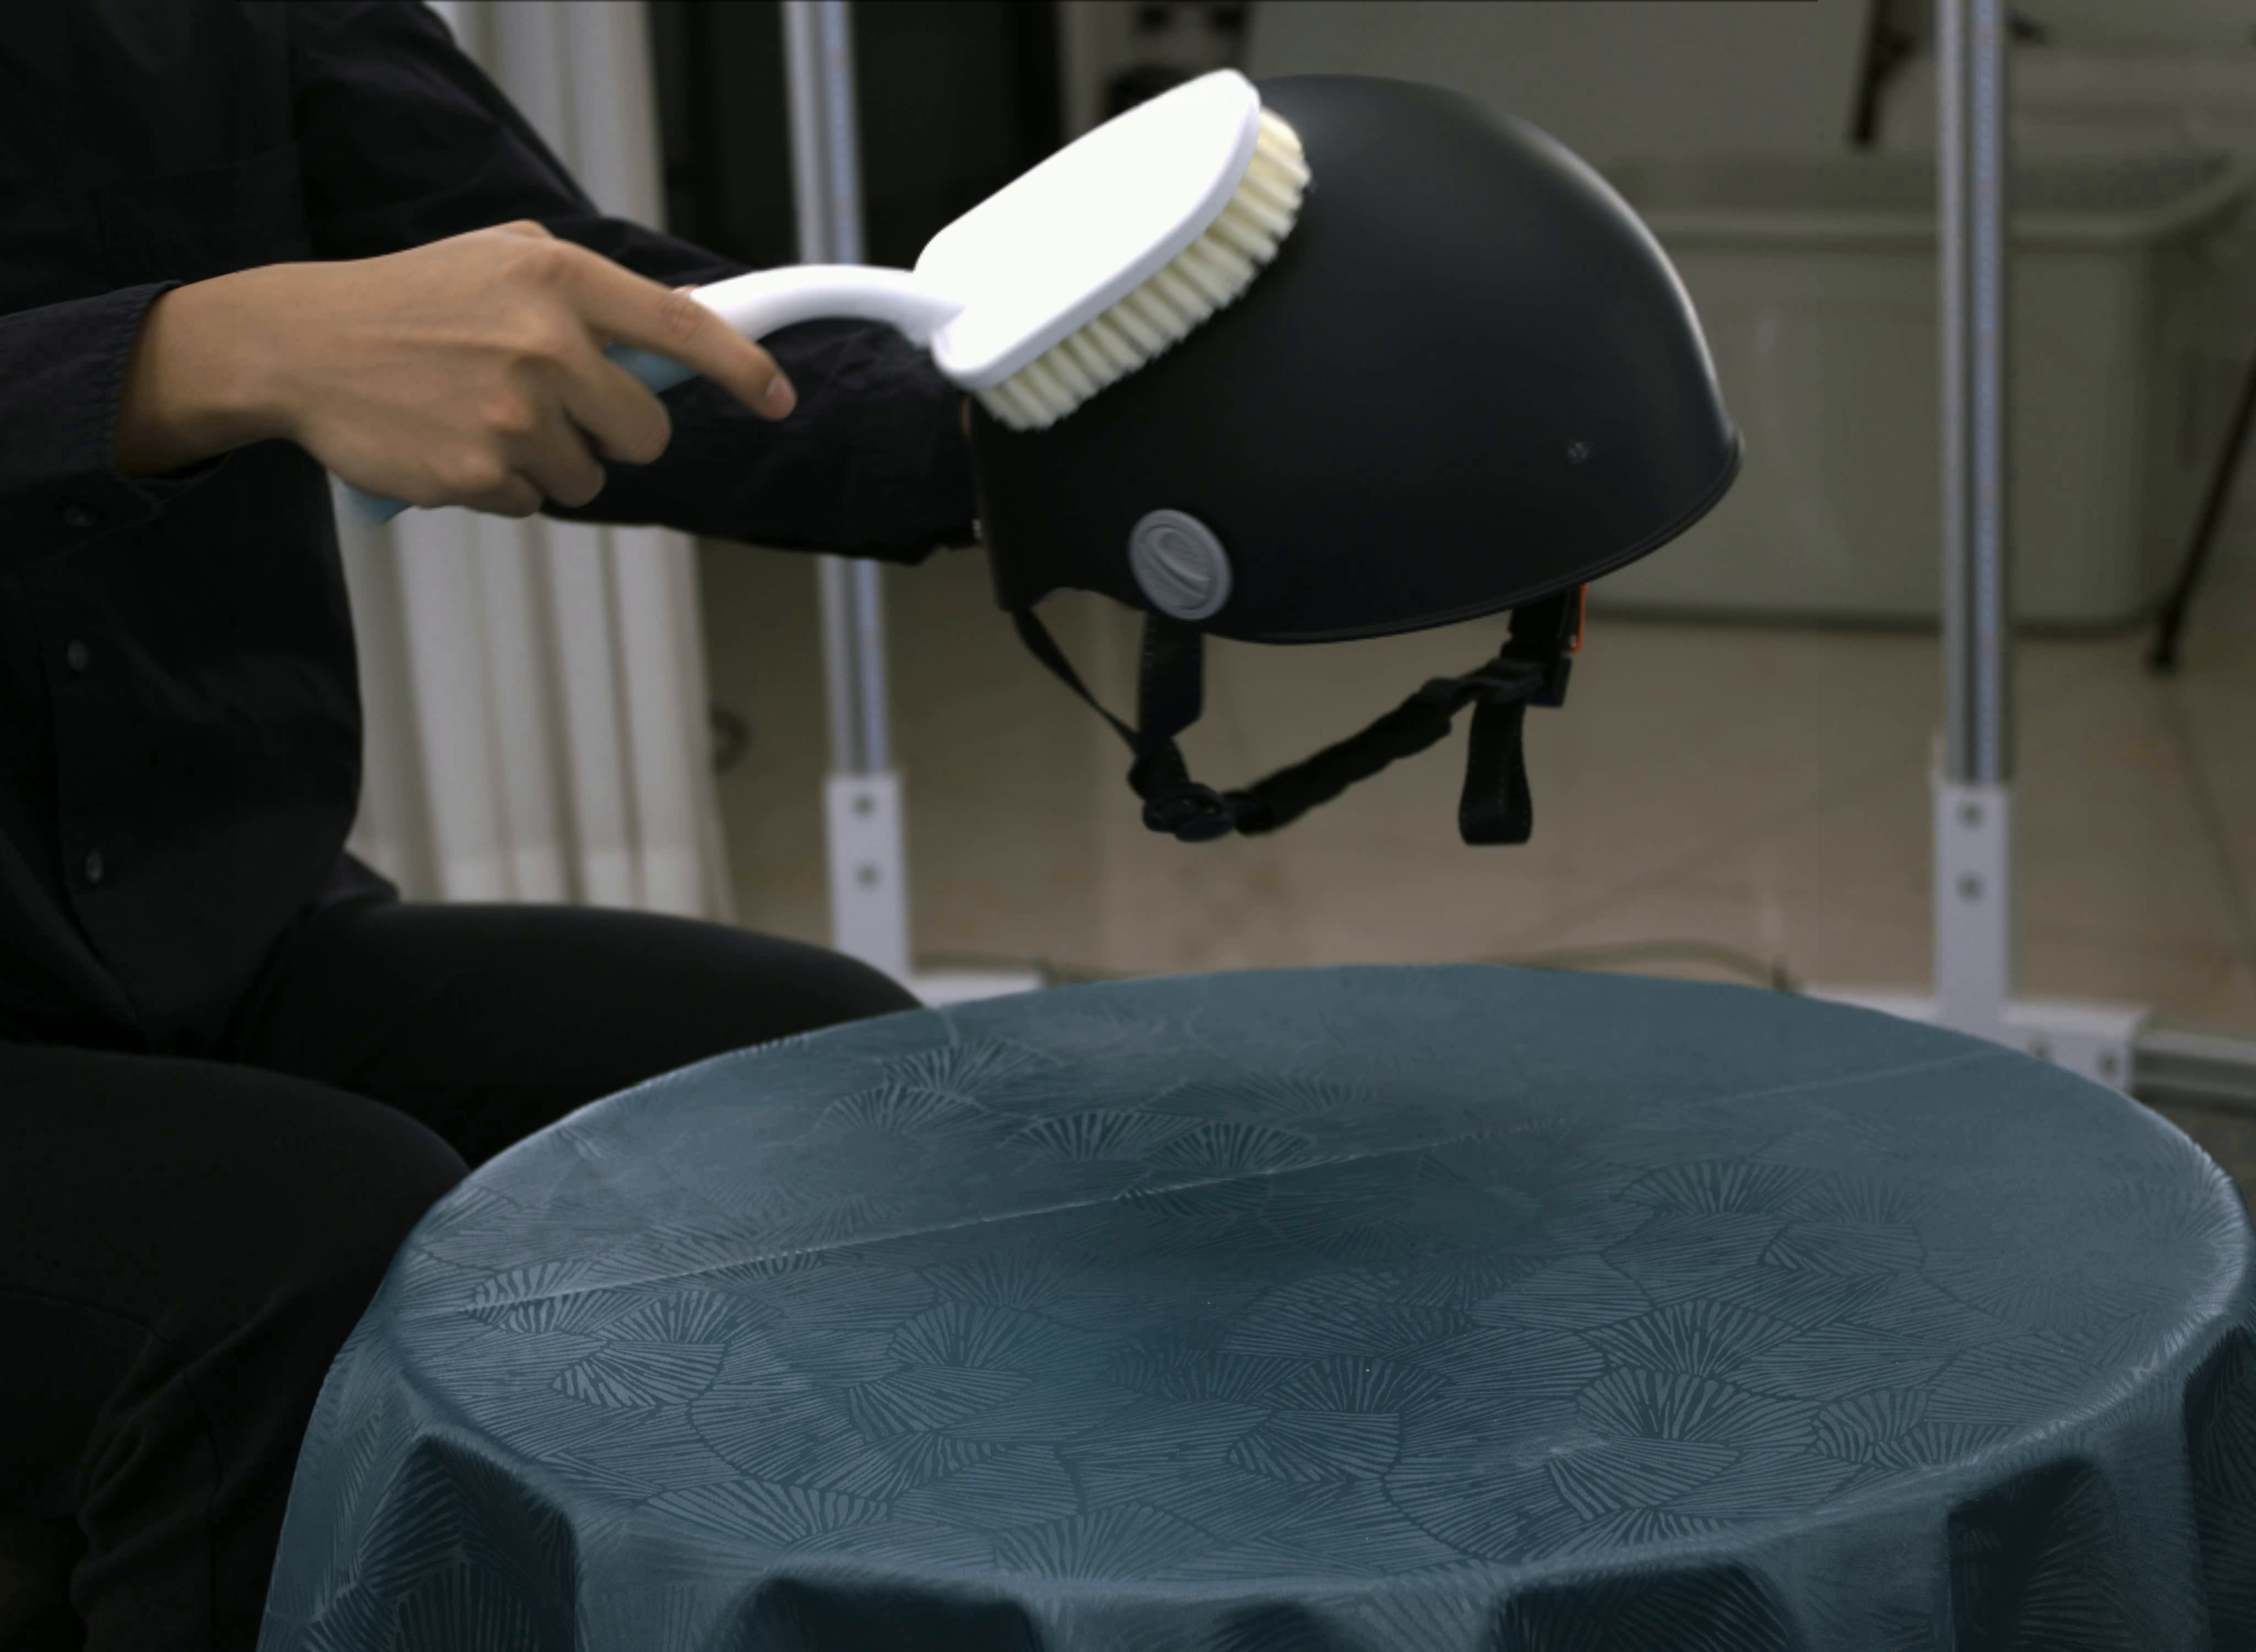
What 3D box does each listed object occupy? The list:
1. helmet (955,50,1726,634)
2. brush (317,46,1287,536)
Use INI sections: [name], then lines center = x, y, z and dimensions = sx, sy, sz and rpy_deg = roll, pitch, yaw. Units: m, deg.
[helmet]
center = 0.056, -0.164, 1.752
dimensions = 0.226, 0.167, 0.276
rpy_deg = -30, 20, -29
[brush]
center = -0.097, -0.148, 1.683
dimensions = 0.324, 0.085, 0.083
rpy_deg = -25, 12, 8
